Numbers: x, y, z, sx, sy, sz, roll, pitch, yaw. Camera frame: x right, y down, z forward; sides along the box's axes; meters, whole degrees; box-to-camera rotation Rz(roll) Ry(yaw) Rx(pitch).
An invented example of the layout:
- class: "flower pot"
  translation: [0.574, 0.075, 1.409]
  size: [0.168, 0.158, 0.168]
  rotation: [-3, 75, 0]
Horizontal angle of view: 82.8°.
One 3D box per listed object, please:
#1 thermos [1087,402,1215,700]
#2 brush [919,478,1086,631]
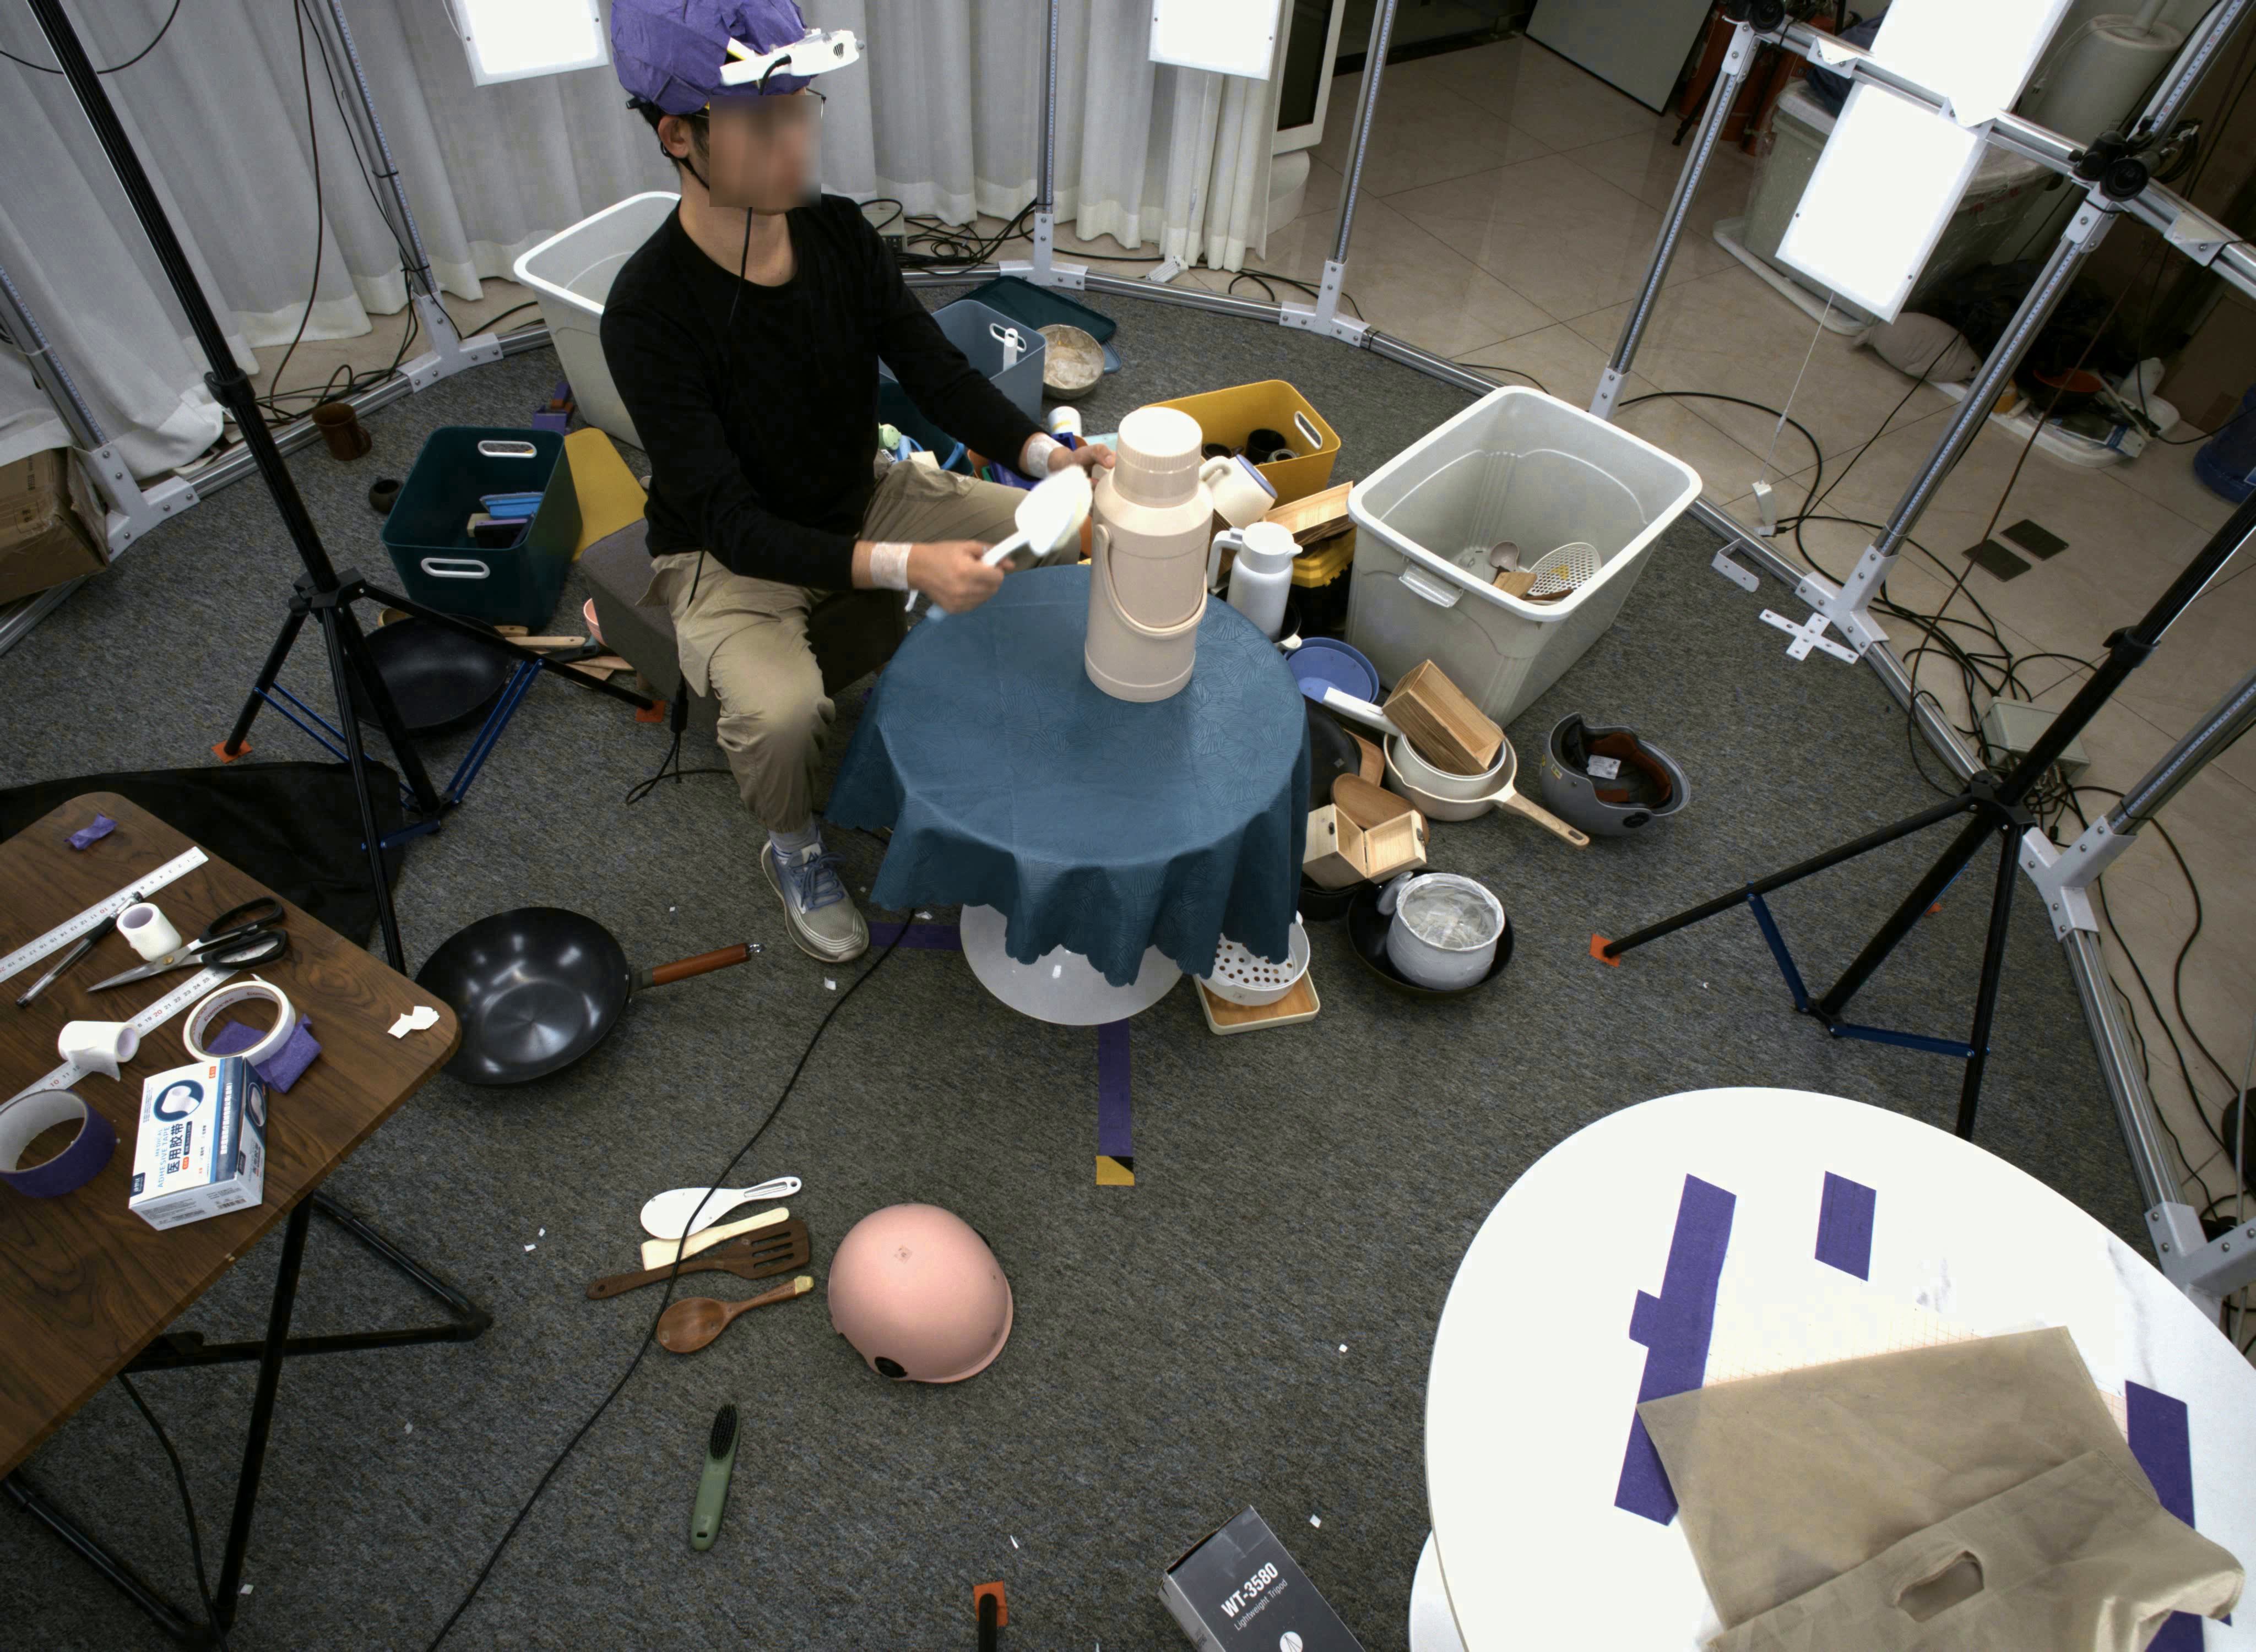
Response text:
- class: "thermos"
  translation: [0.021, -0.373, 1.739]
  size: [0.176, 0.396, 0.211]
  rotation: [-30, 58, -25]
- class: "brush"
  translation: [-0.159, -0.350, 1.669]
  size: [0.083, 0.322, 0.085]
  rotation: [17, 55, -36]
